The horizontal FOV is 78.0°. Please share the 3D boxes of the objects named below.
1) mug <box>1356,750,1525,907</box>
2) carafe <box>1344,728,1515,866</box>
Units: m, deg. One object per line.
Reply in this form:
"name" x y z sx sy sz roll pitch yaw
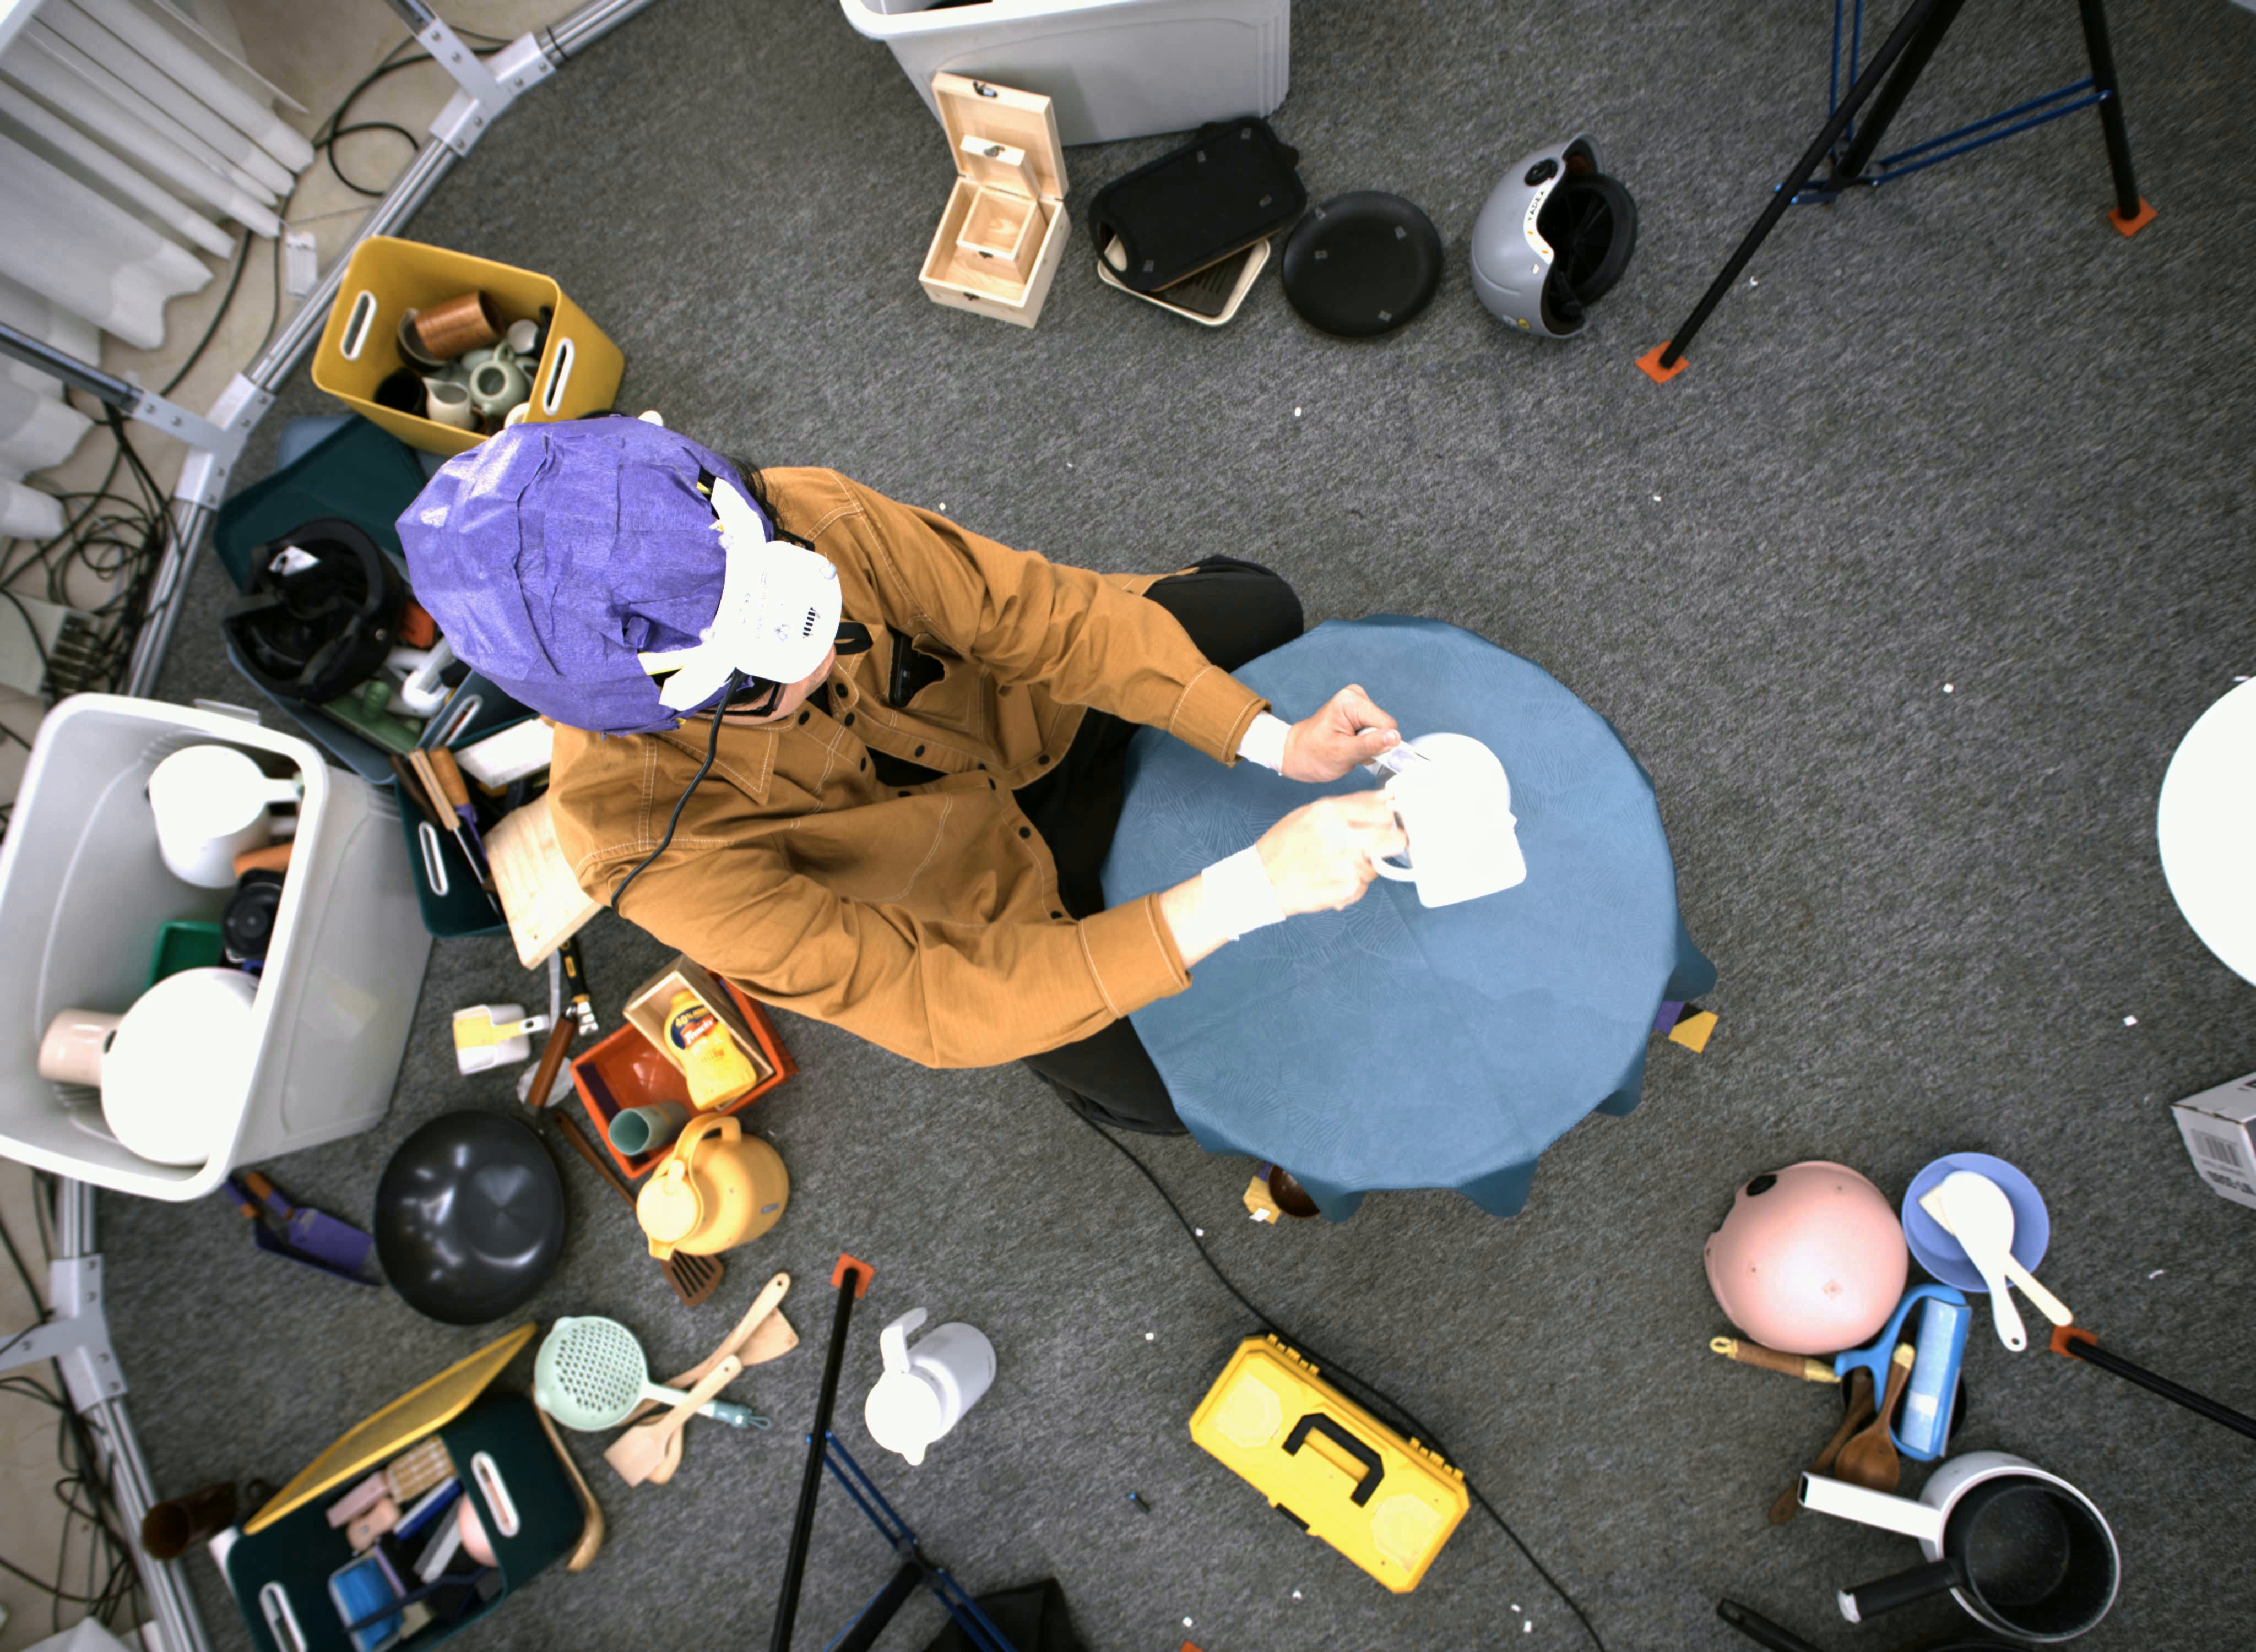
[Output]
"mug" 0.239 0.006 1.068 0.118 0.086 0.101 -12 77 -9
"carafe" 0.278 -0.035 1.295 0.167 0.248 0.133 33 94 10
